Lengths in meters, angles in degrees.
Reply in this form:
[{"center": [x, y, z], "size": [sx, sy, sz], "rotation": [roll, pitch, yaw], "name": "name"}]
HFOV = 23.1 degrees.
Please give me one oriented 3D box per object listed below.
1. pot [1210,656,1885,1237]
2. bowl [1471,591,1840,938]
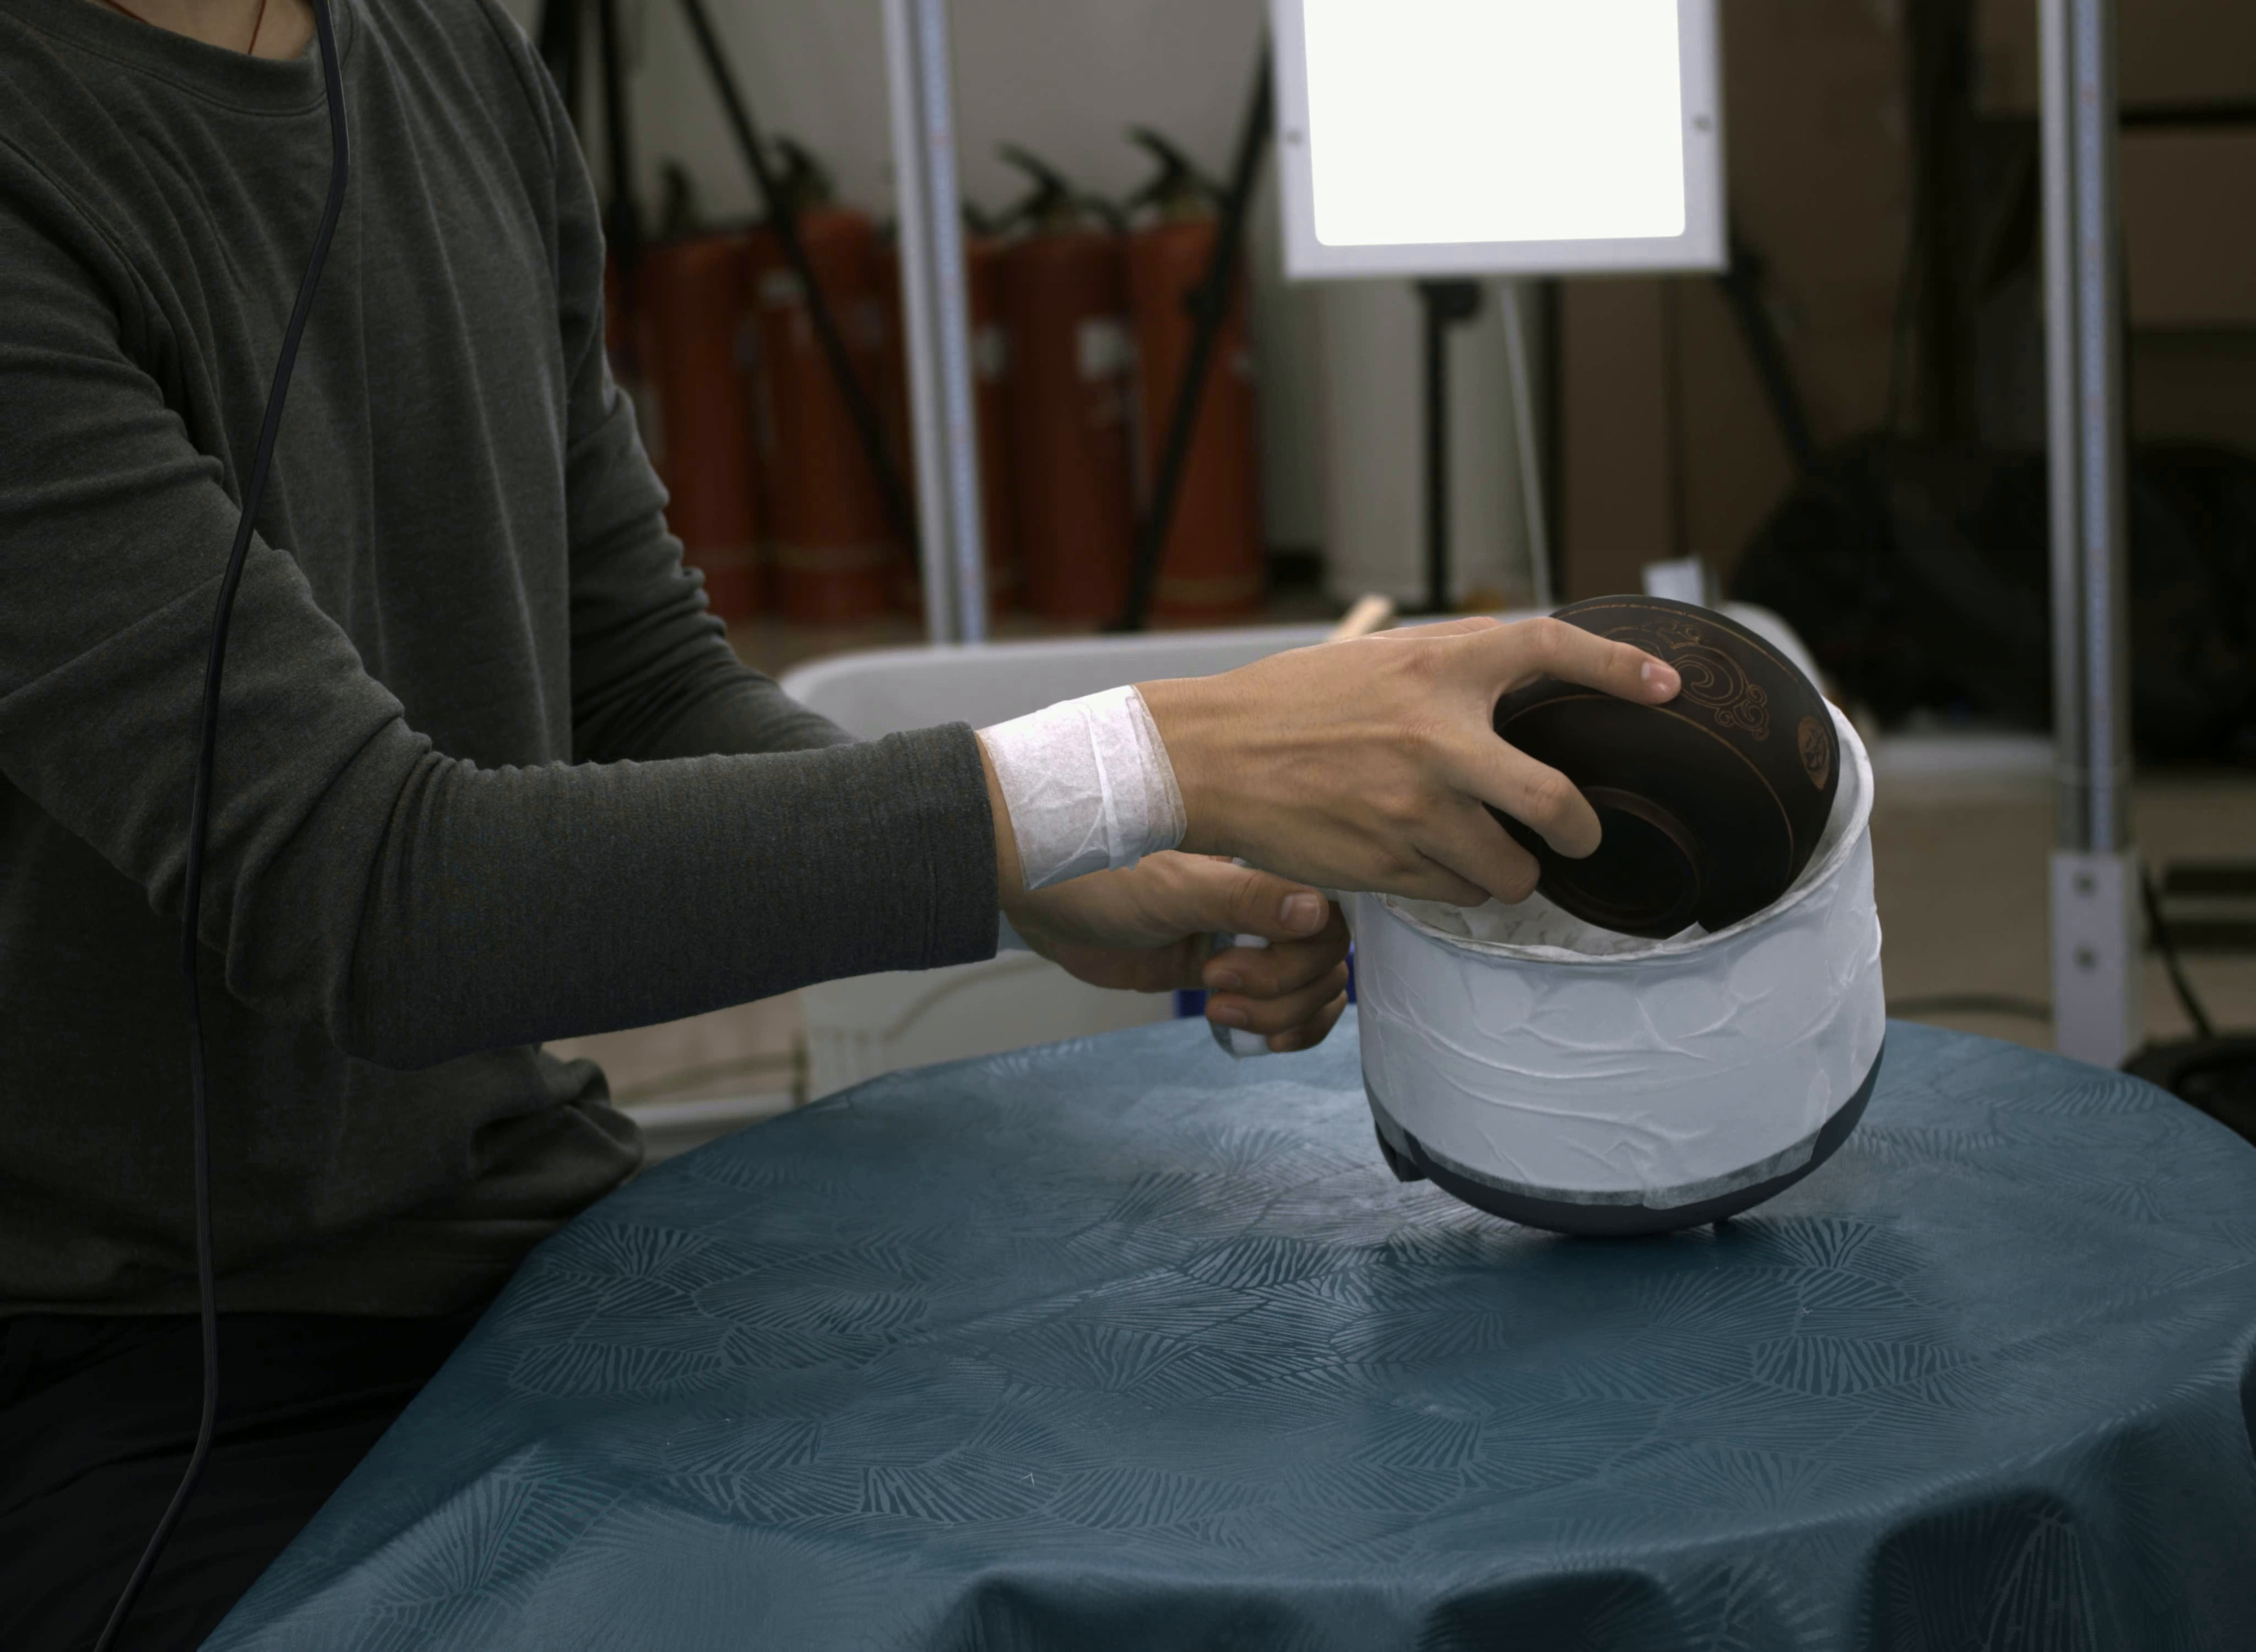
[{"center": [0.137, 0.039, 1.840], "size": [0.236, 0.137, 0.176], "rotation": [3, 37, 18], "name": "pot"}, {"center": [0.165, -0.010, 1.757], "size": [0.120, 0.117, 0.069], "rotation": [3, 45, 26], "name": "bowl"}]
